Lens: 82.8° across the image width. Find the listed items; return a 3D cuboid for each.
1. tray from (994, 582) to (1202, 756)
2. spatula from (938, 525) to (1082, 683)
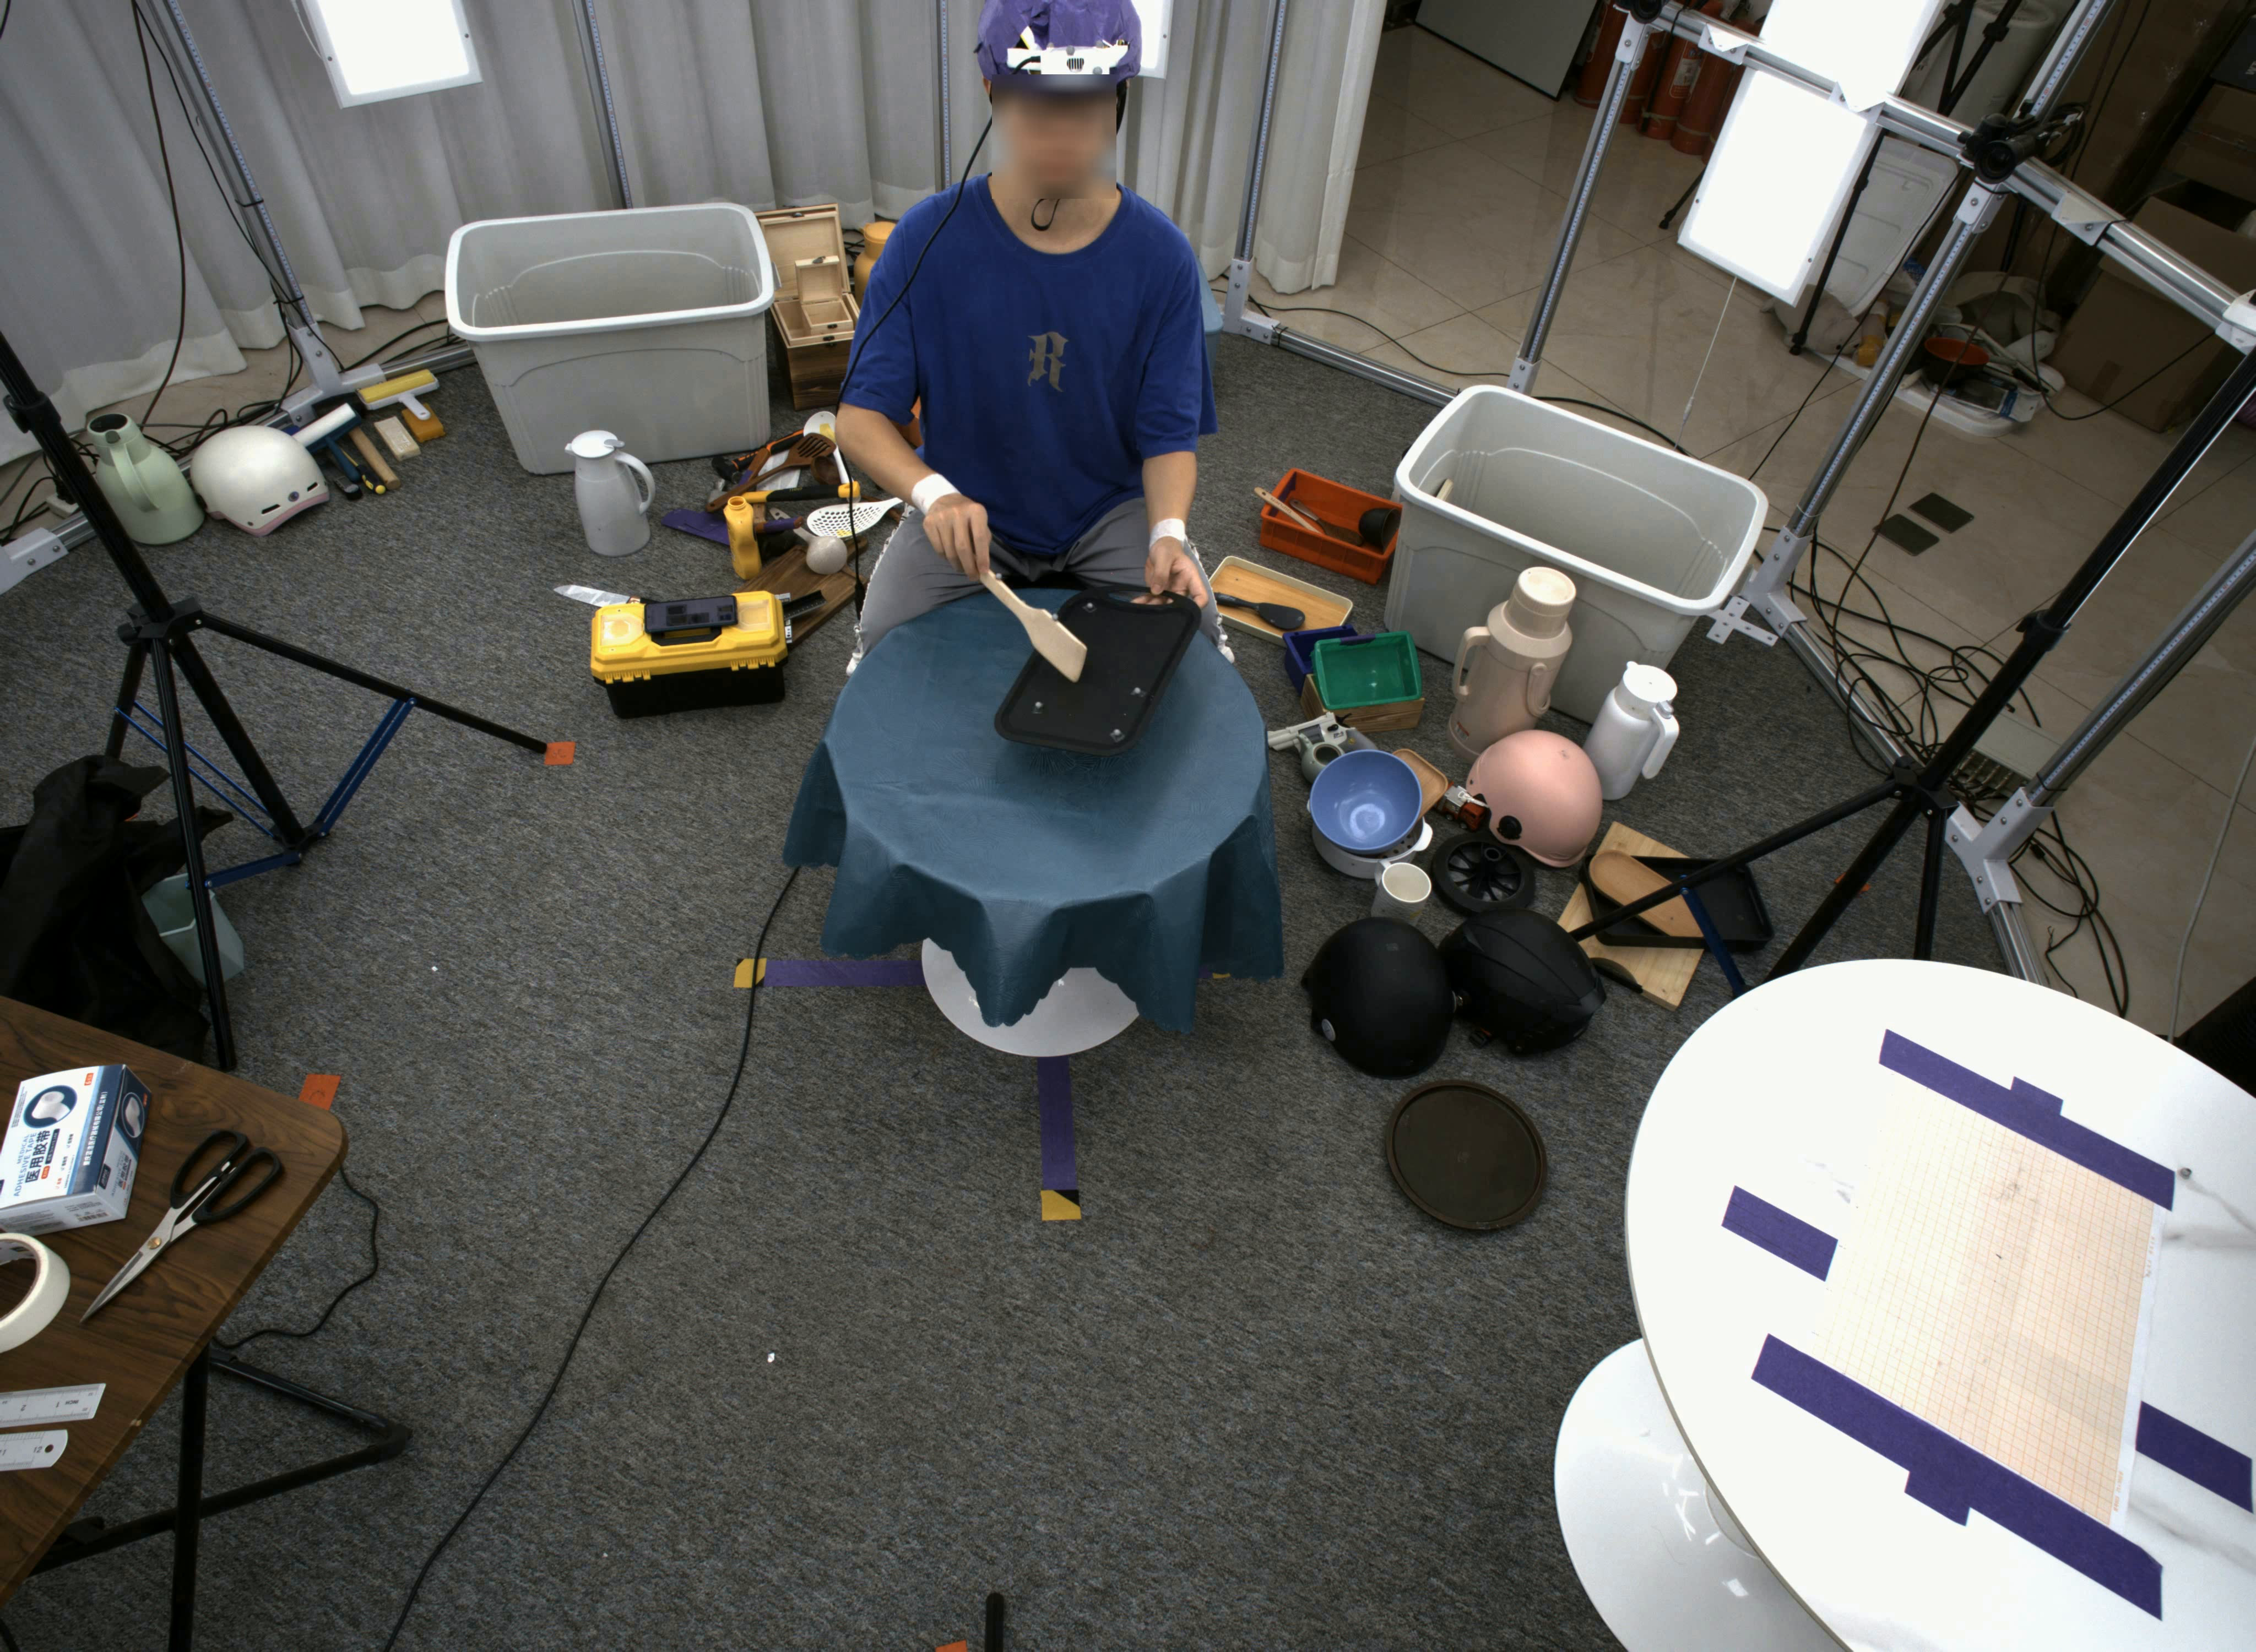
[{"bbox_3d":[-0.035,-0.223,1.733,0.212,0.009,0.331,11,53,23],"label":"tray"},{"bbox_3d":[-0.164,-0.308,1.734,0.011,0.071,0.297,-31,67,-31],"label":"spatula"}]
